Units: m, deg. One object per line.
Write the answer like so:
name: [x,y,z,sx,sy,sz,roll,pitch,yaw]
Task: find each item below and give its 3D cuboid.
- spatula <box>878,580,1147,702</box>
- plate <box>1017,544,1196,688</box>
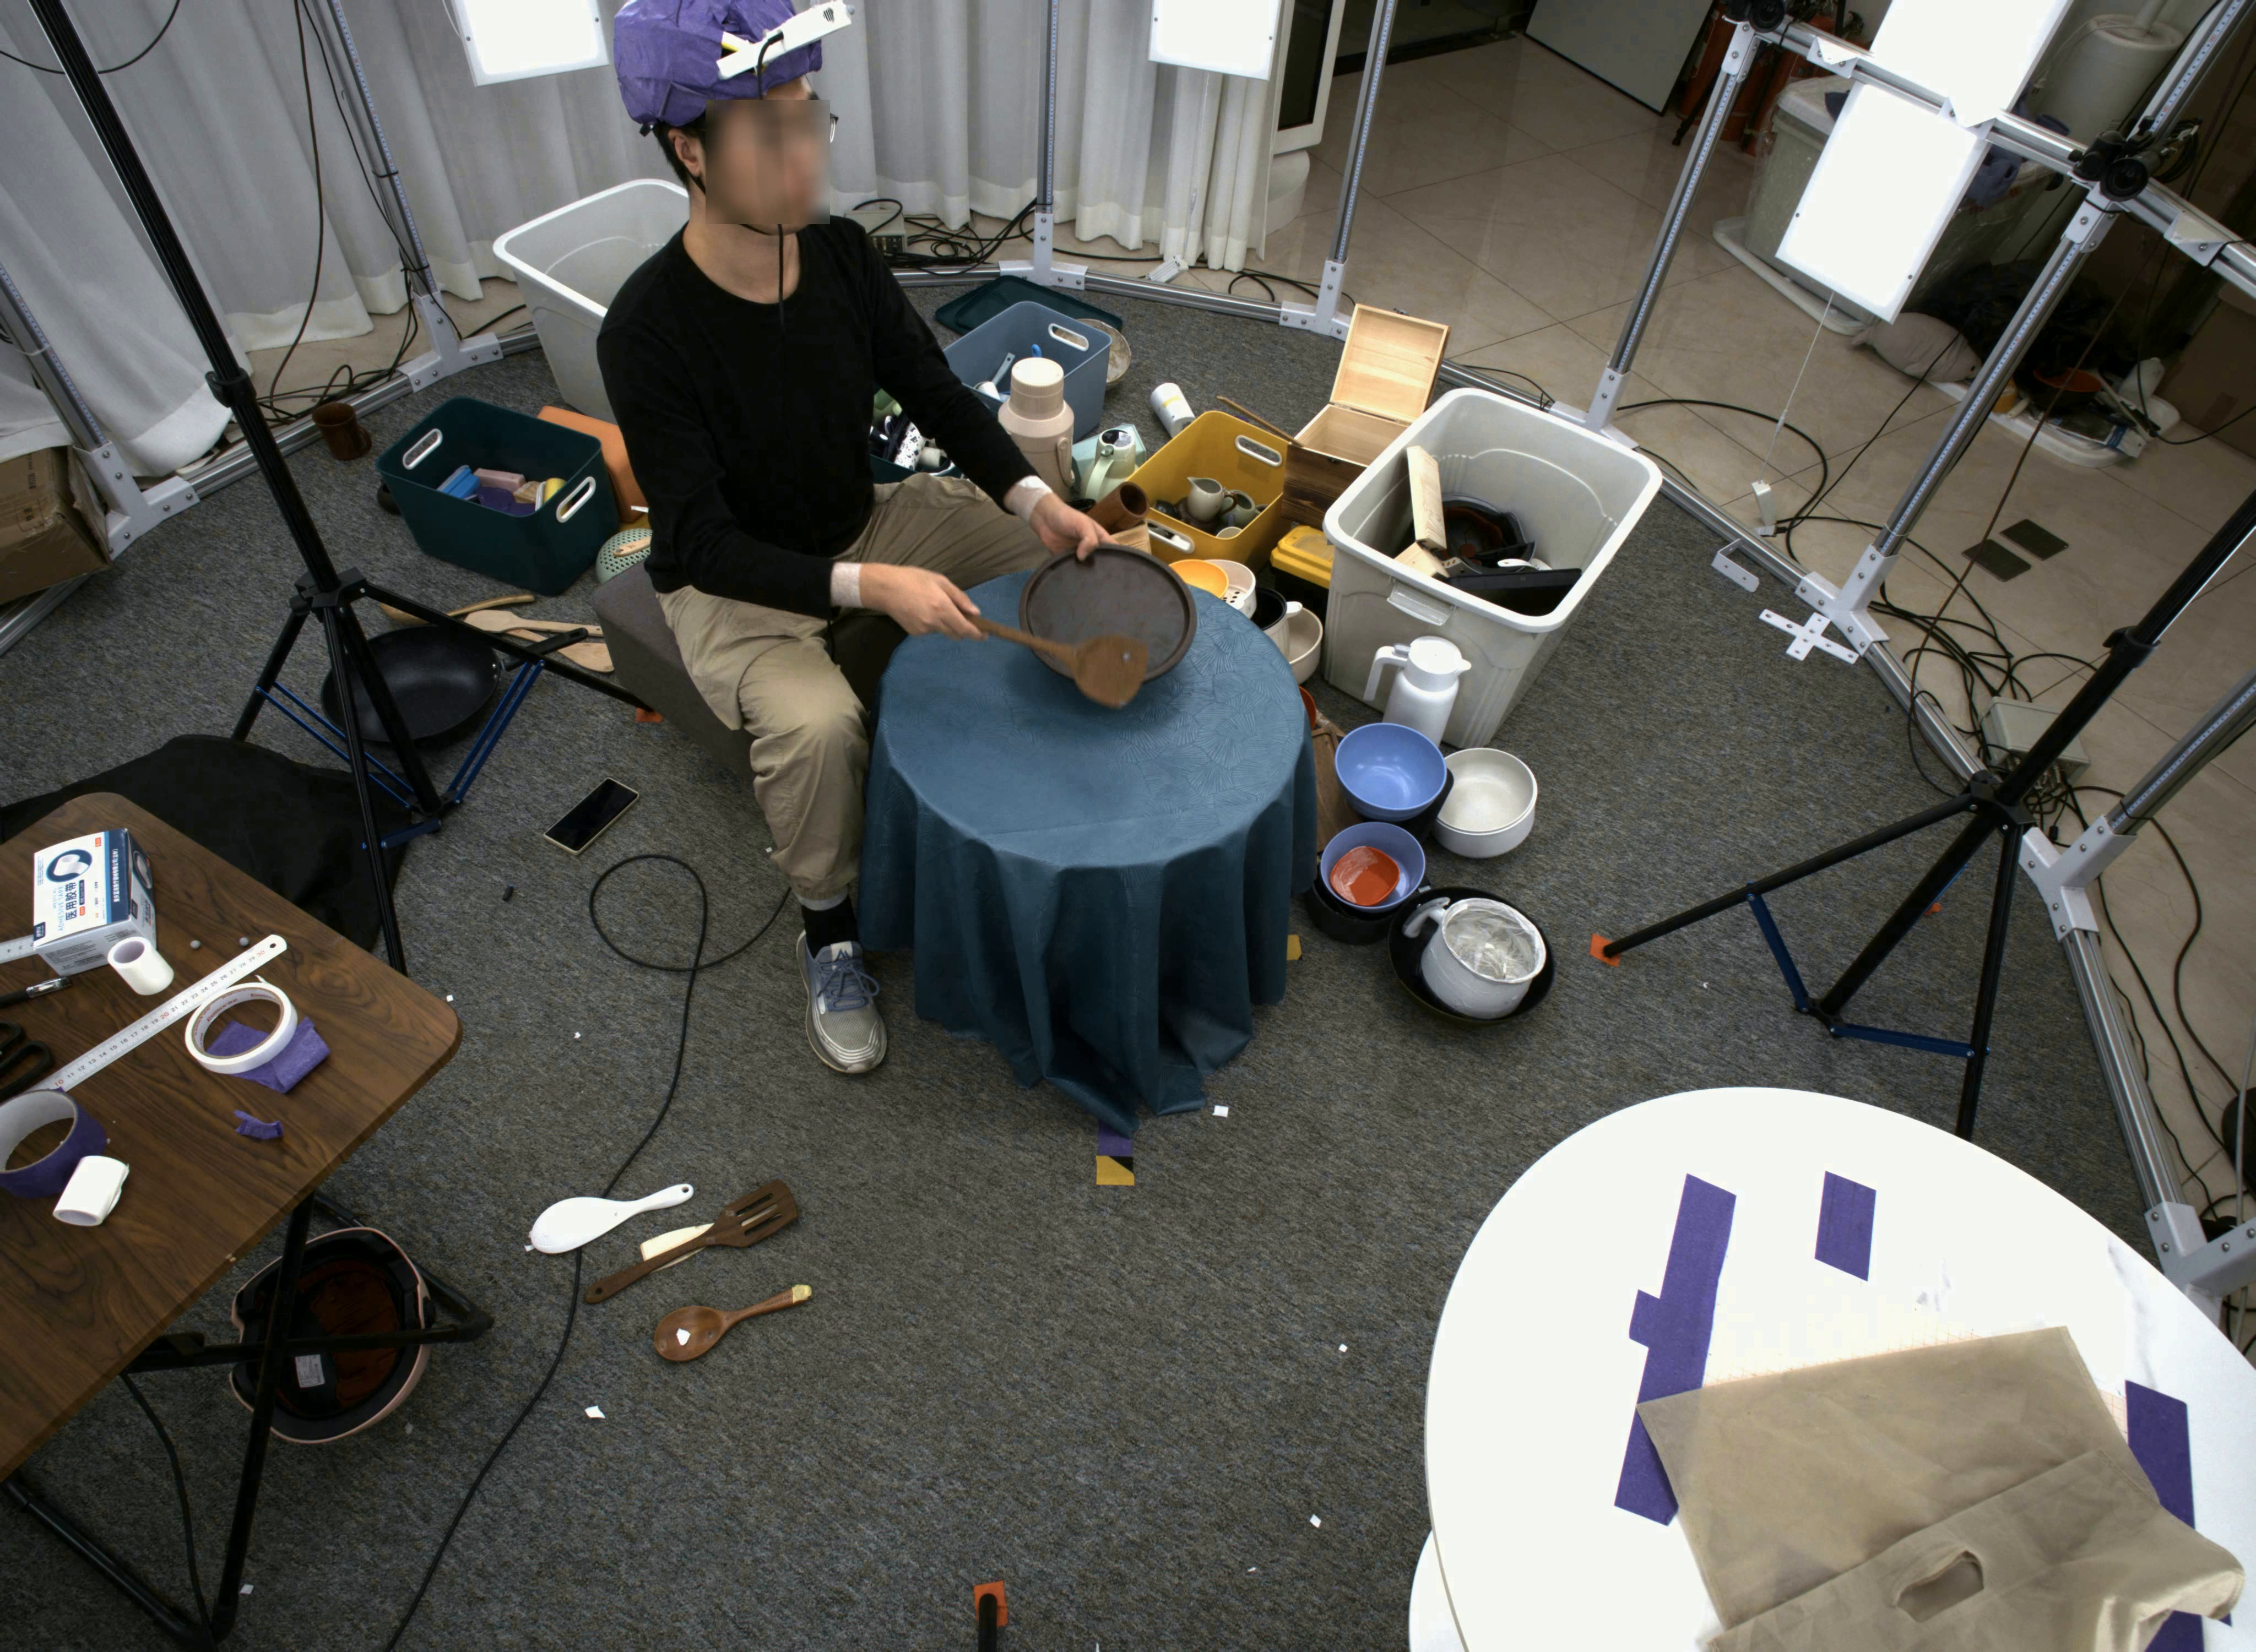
spatula: [-0.159,-0.259,1.699,0.388,0.015,0.096,20,83,12]
plate: [-0.030,-0.299,1.824,0.254,0.028,0.260,2,60,-5]
